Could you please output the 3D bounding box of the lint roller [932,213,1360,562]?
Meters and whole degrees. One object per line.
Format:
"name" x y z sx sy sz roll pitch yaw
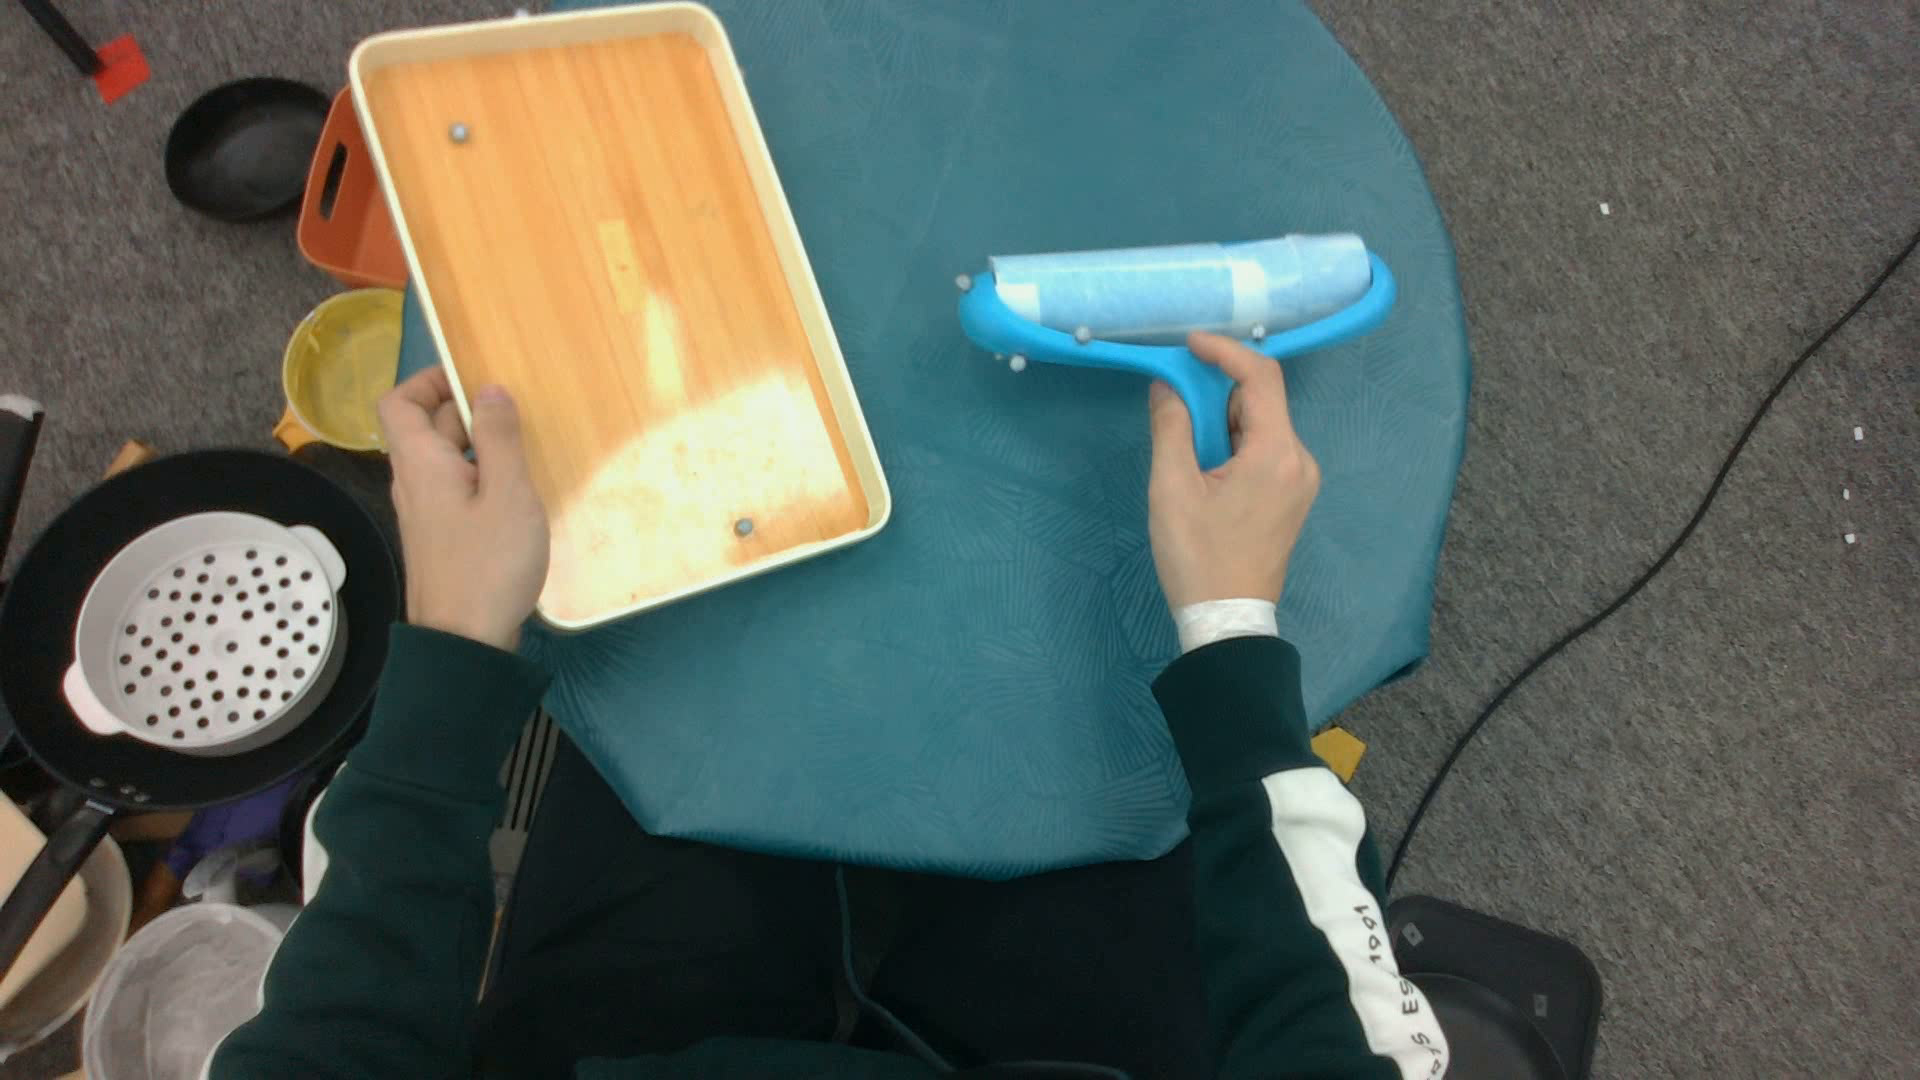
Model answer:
"lint roller" 0.110 -0.083 0.709 0.229 0.067 0.181 -9 69 -9

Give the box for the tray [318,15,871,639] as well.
"tray" -0.181 -0.116 0.698 0.192 0.027 0.300 -20 85 -27
